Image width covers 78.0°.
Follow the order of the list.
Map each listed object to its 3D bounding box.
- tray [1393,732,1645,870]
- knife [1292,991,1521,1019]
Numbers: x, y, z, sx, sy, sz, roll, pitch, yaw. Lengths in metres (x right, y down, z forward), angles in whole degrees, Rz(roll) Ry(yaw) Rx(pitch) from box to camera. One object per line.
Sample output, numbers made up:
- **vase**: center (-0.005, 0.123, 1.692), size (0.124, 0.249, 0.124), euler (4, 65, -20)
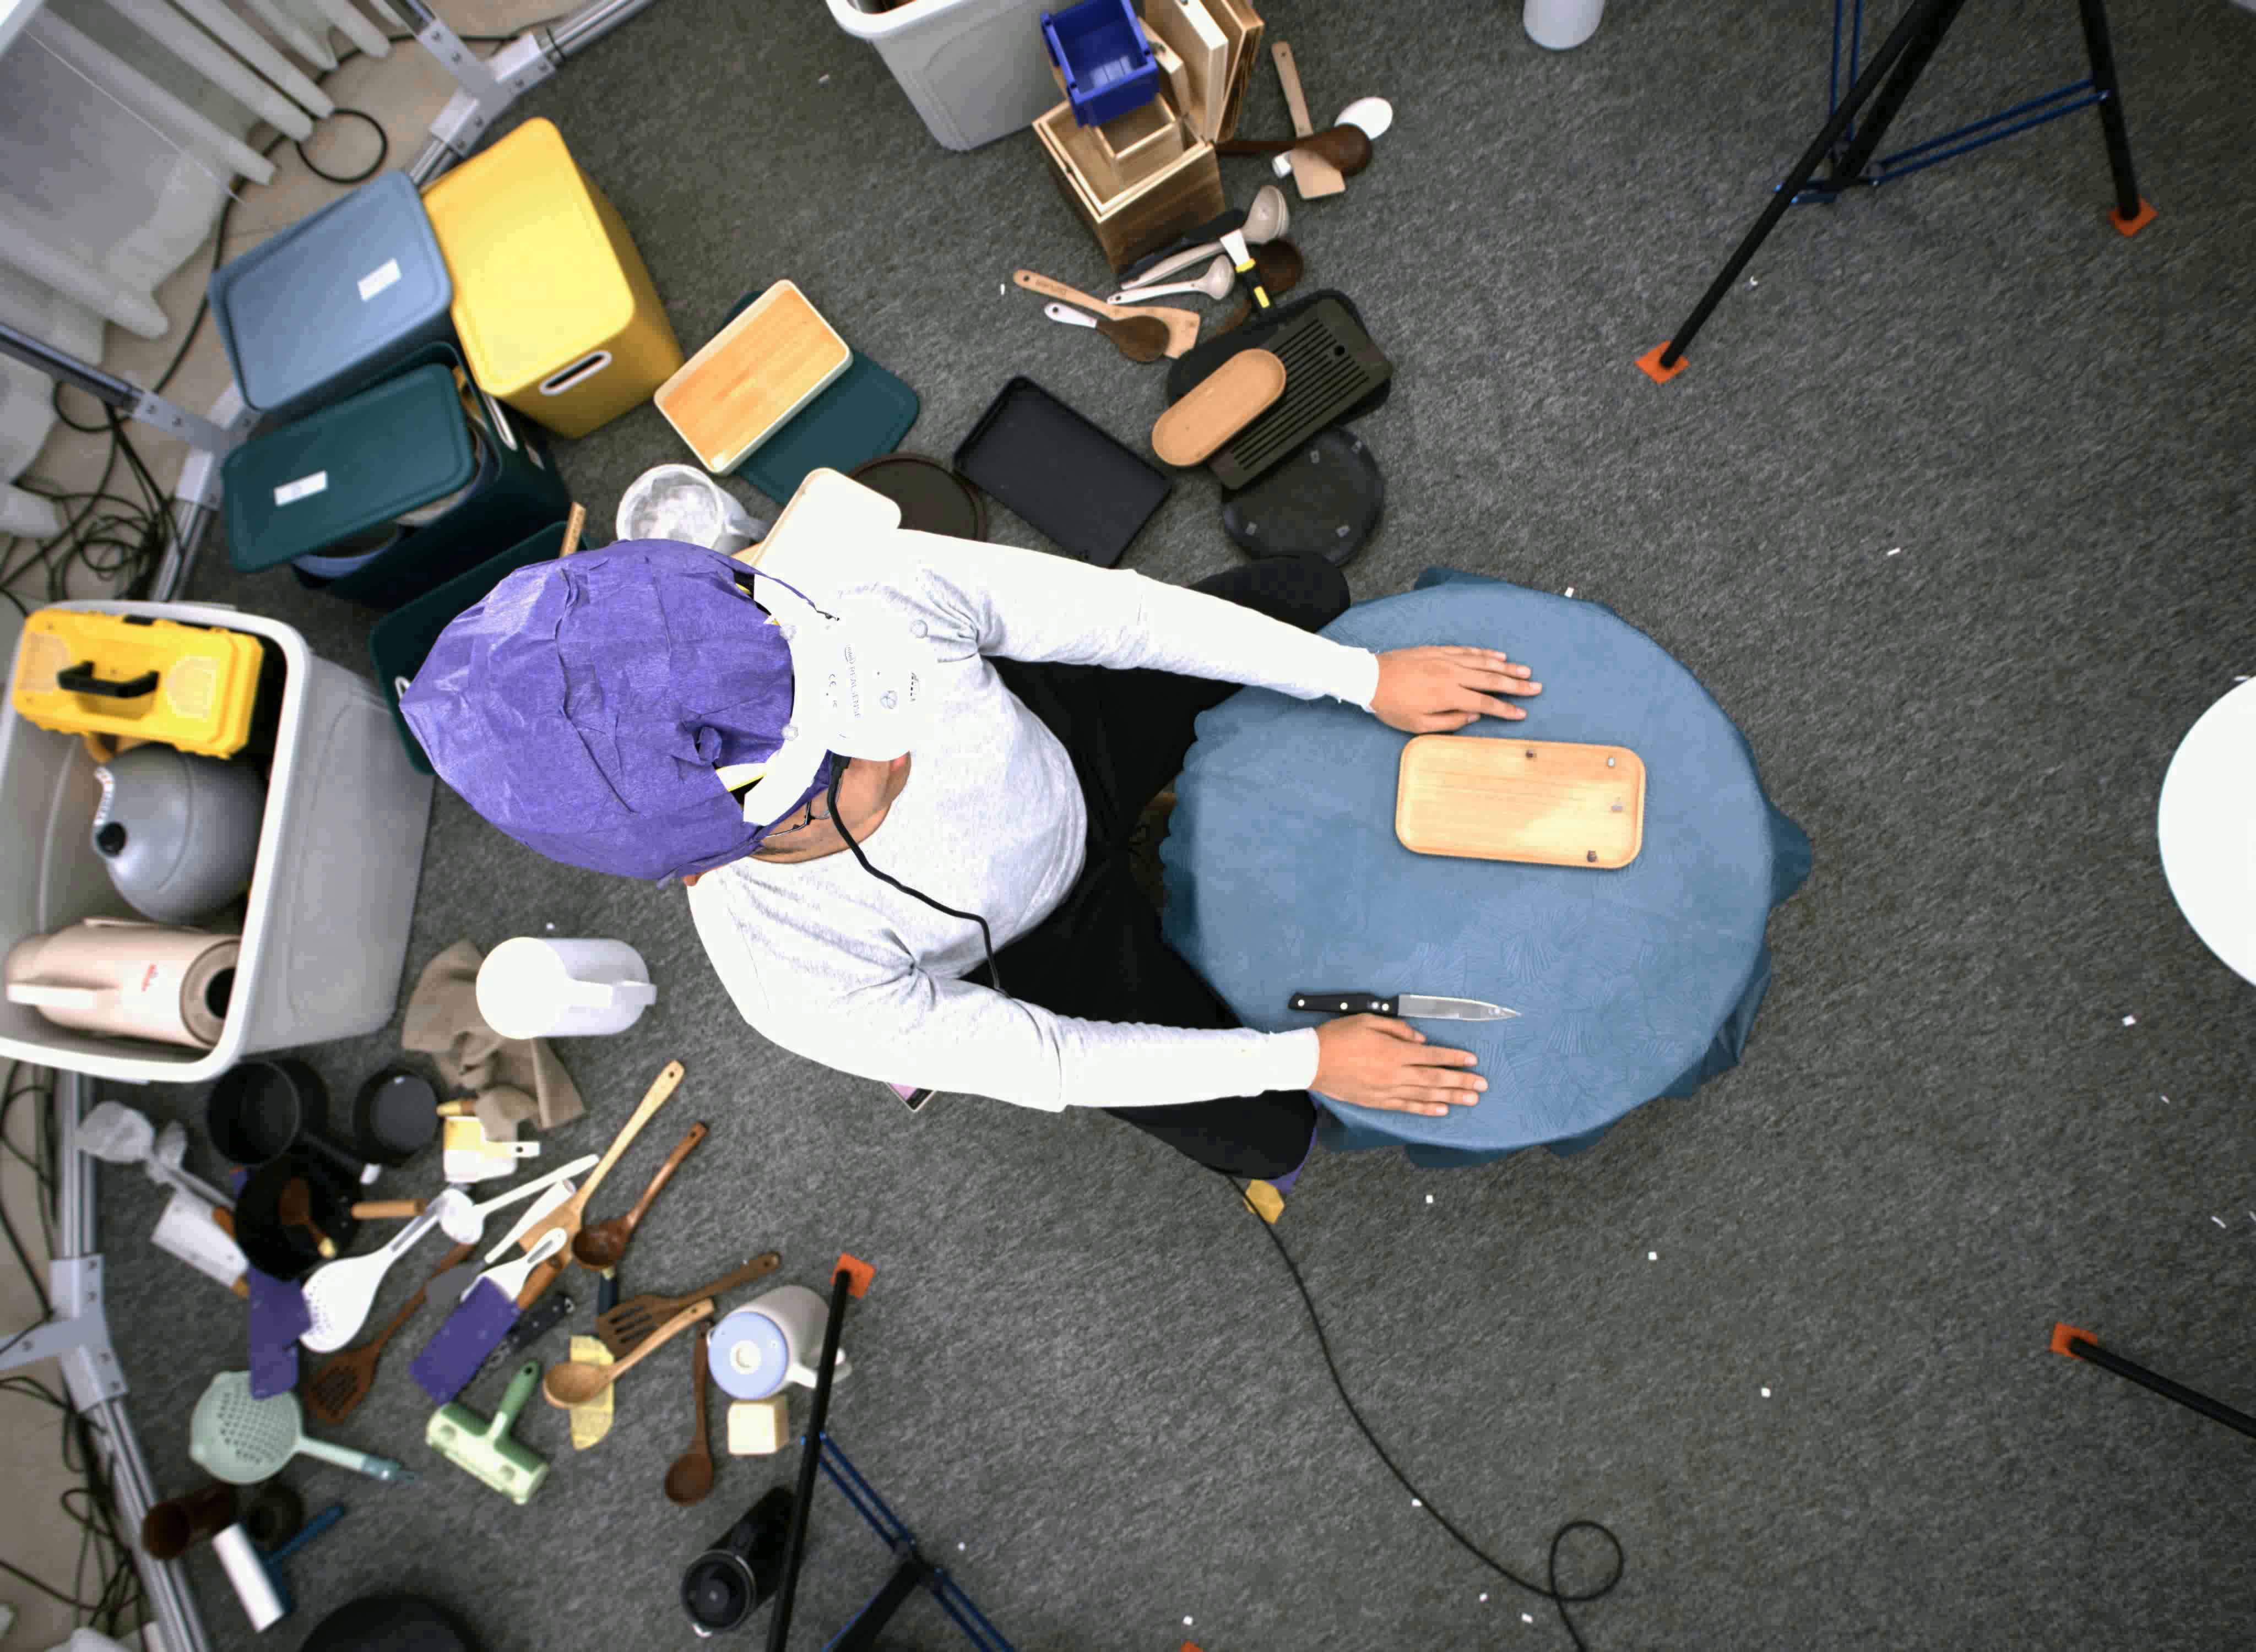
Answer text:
- **tray**: center (0.406, -0.029, 1.432), size (0.251, 0.023, 0.130), euler (5, 85, 12)
- **knife**: center (0.290, 0.187, 1.444), size (0.239, 0.016, 0.024), euler (2, 86, 8)
